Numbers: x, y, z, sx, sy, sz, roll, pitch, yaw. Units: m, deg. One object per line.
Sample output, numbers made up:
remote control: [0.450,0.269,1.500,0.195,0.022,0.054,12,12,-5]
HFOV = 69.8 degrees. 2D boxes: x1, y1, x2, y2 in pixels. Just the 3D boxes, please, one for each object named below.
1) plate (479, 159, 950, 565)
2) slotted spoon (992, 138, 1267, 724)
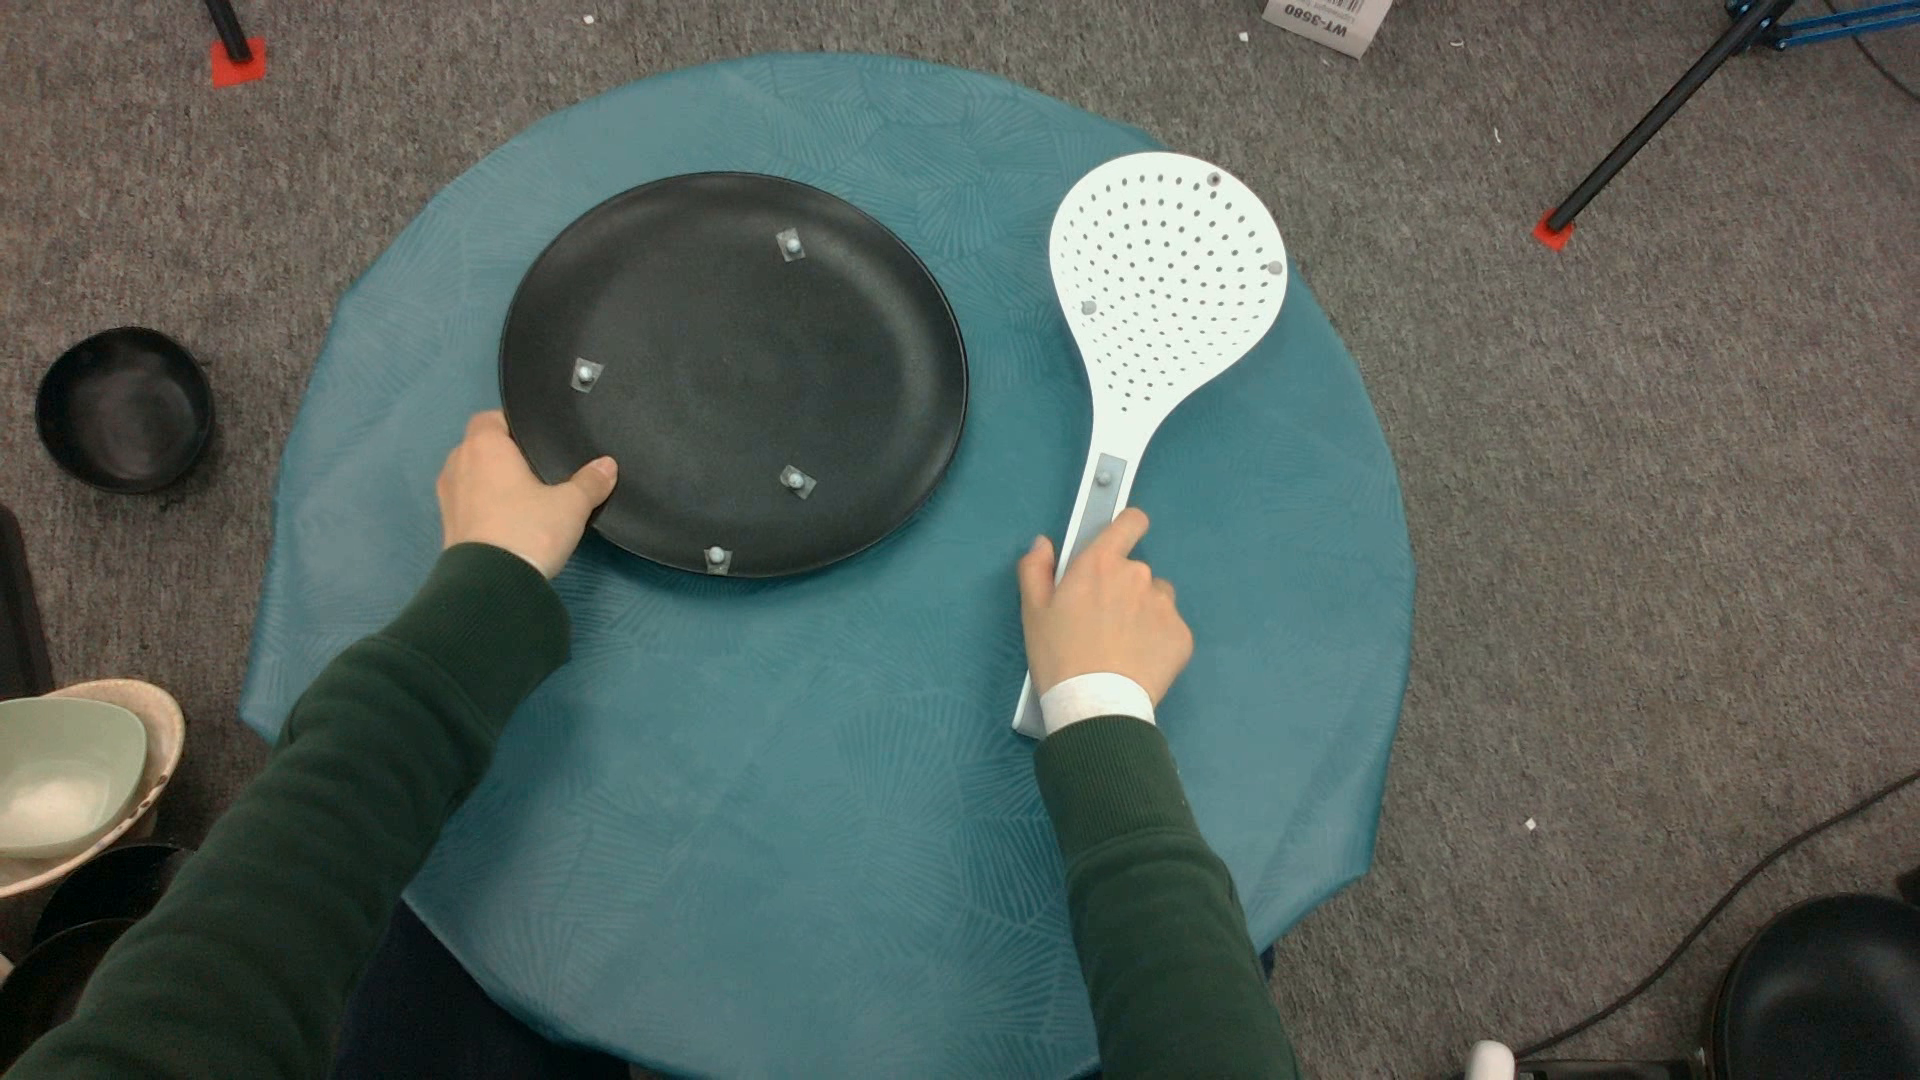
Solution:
plate: [-0.127,-0.097,0.732,0.244,0.023,0.245,4,67,-10]
slotted spoon: [0.077,-0.068,0.749,0.136,0.045,0.351,18,66,-1]
